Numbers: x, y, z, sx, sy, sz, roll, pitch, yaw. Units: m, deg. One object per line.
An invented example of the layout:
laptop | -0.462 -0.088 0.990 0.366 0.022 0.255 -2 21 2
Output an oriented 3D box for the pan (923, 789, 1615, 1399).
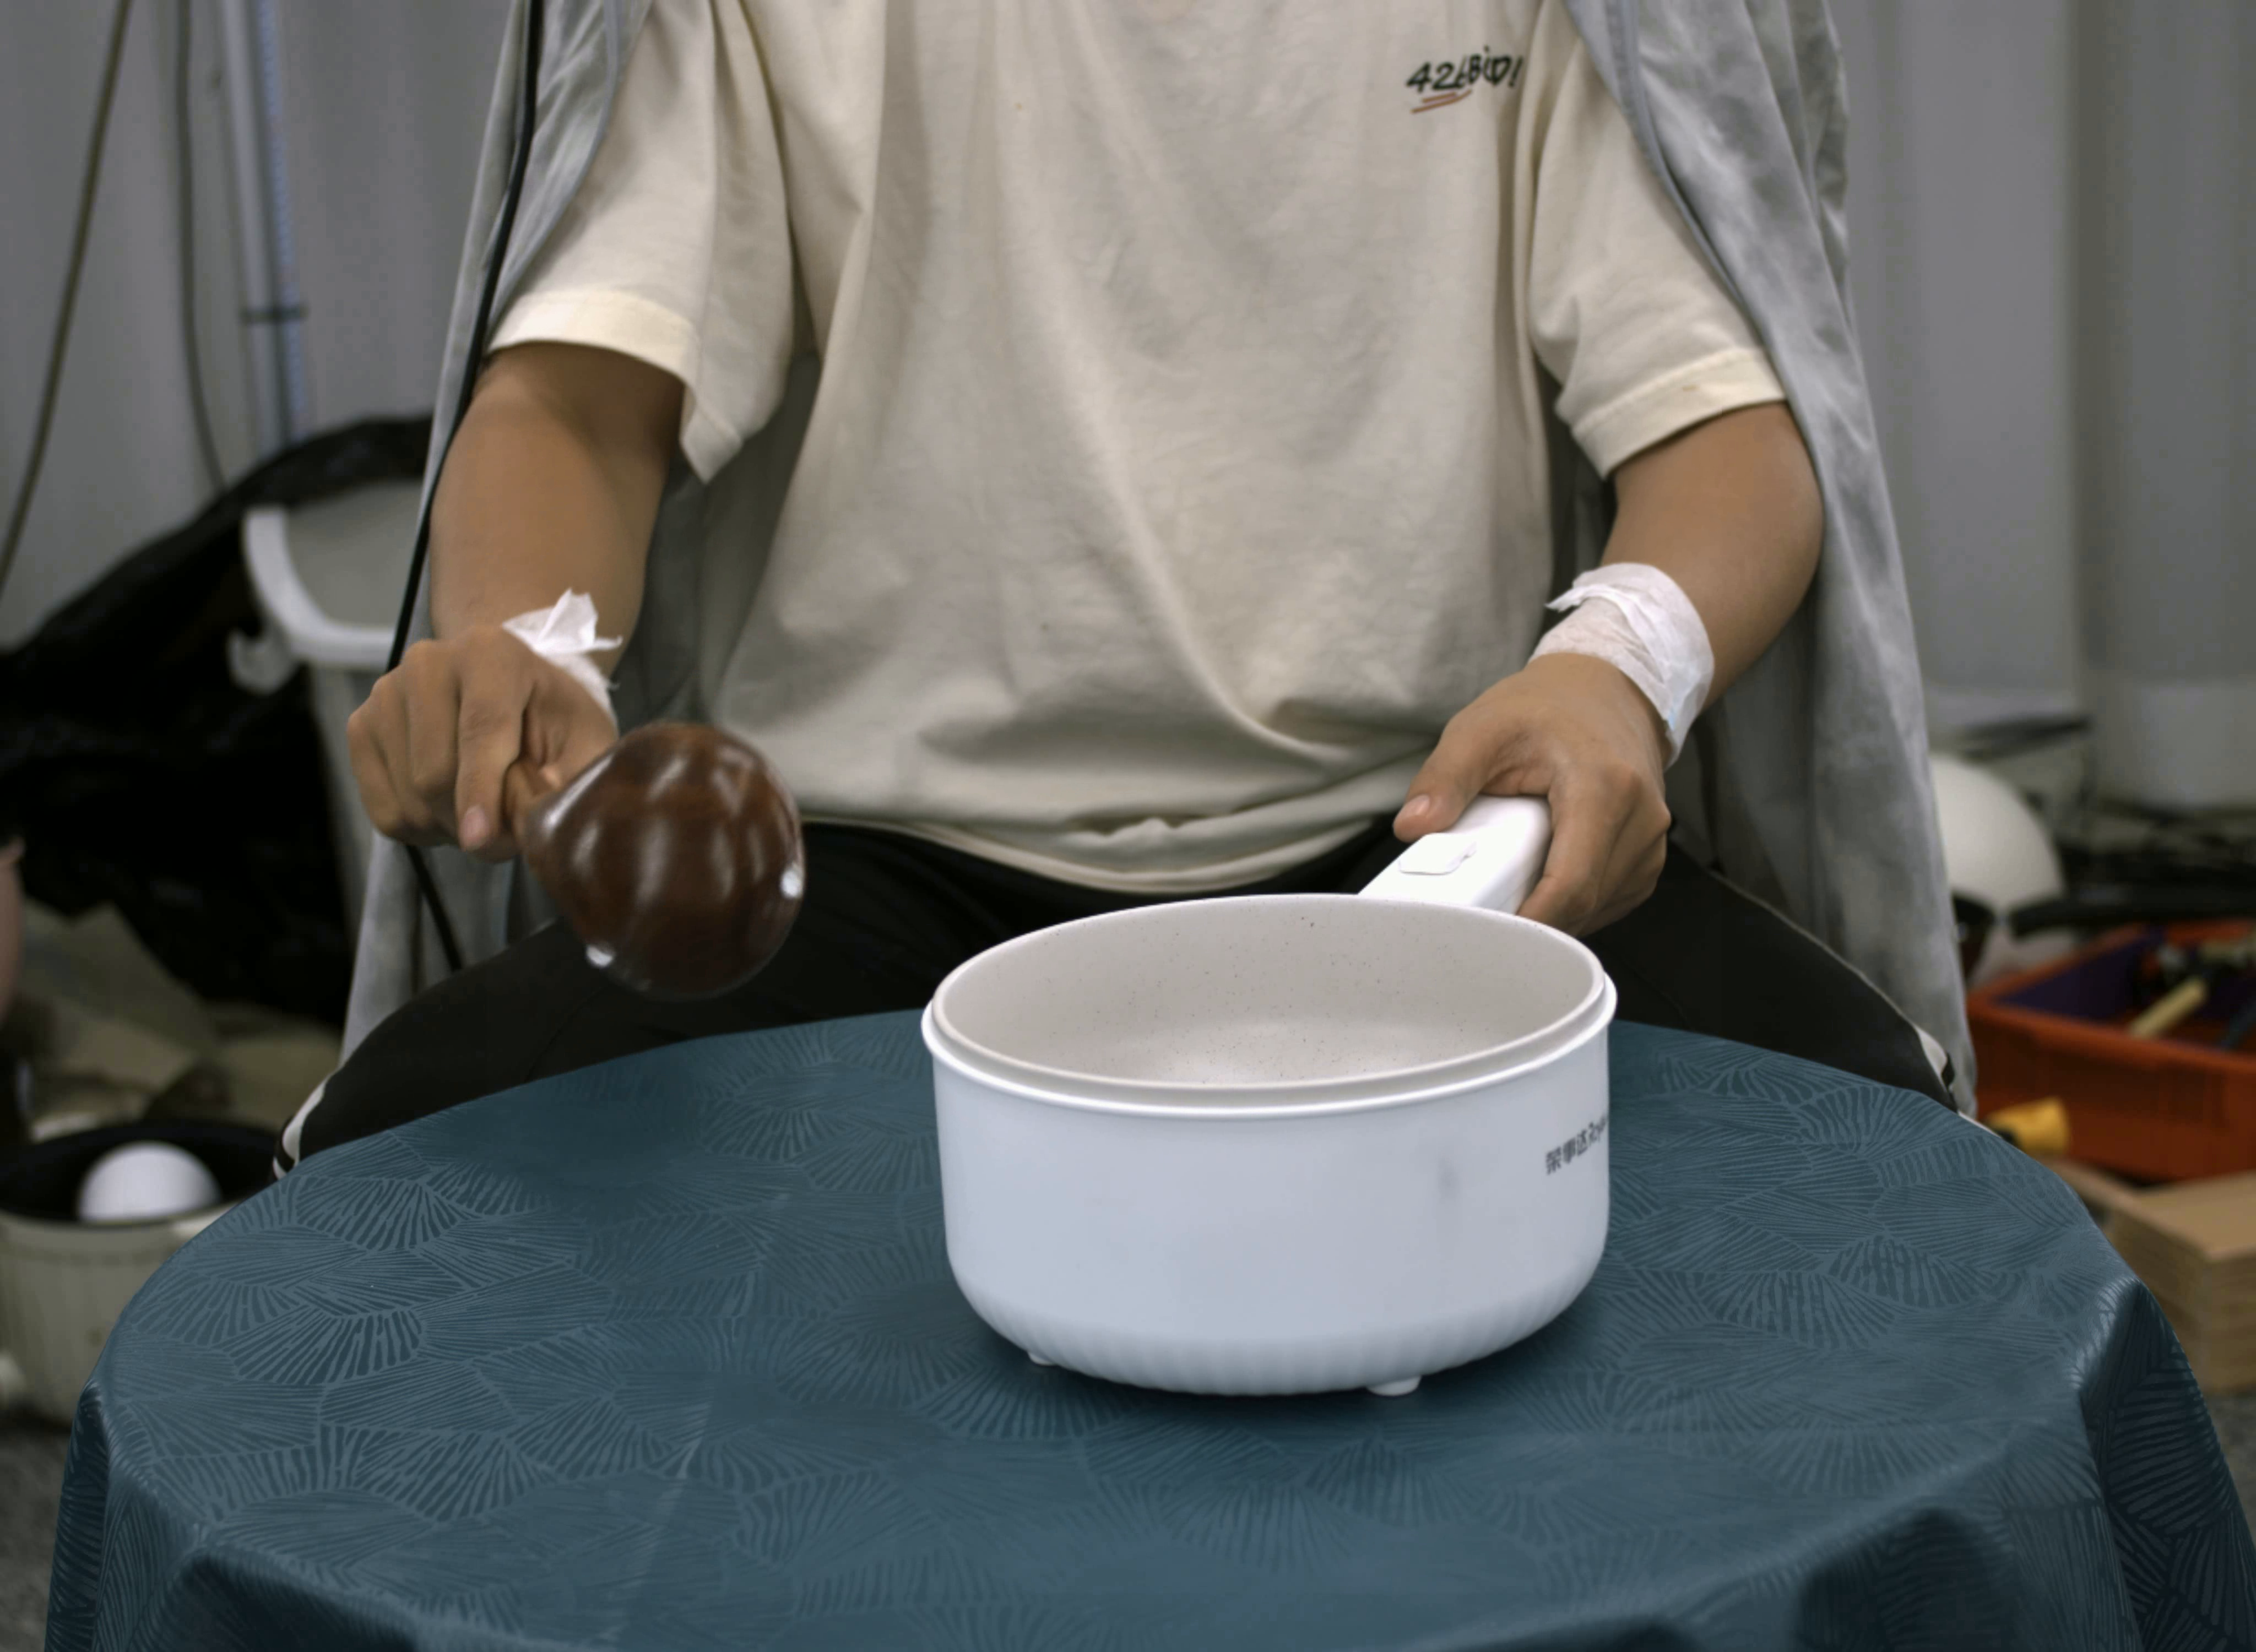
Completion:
pan | 0.070 0.077 1.661 0.201 0.102 0.355 2 15 21

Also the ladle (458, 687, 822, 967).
ladle | -0.154 -0.004 1.698 0.076 0.082 0.274 14 -1 -13
